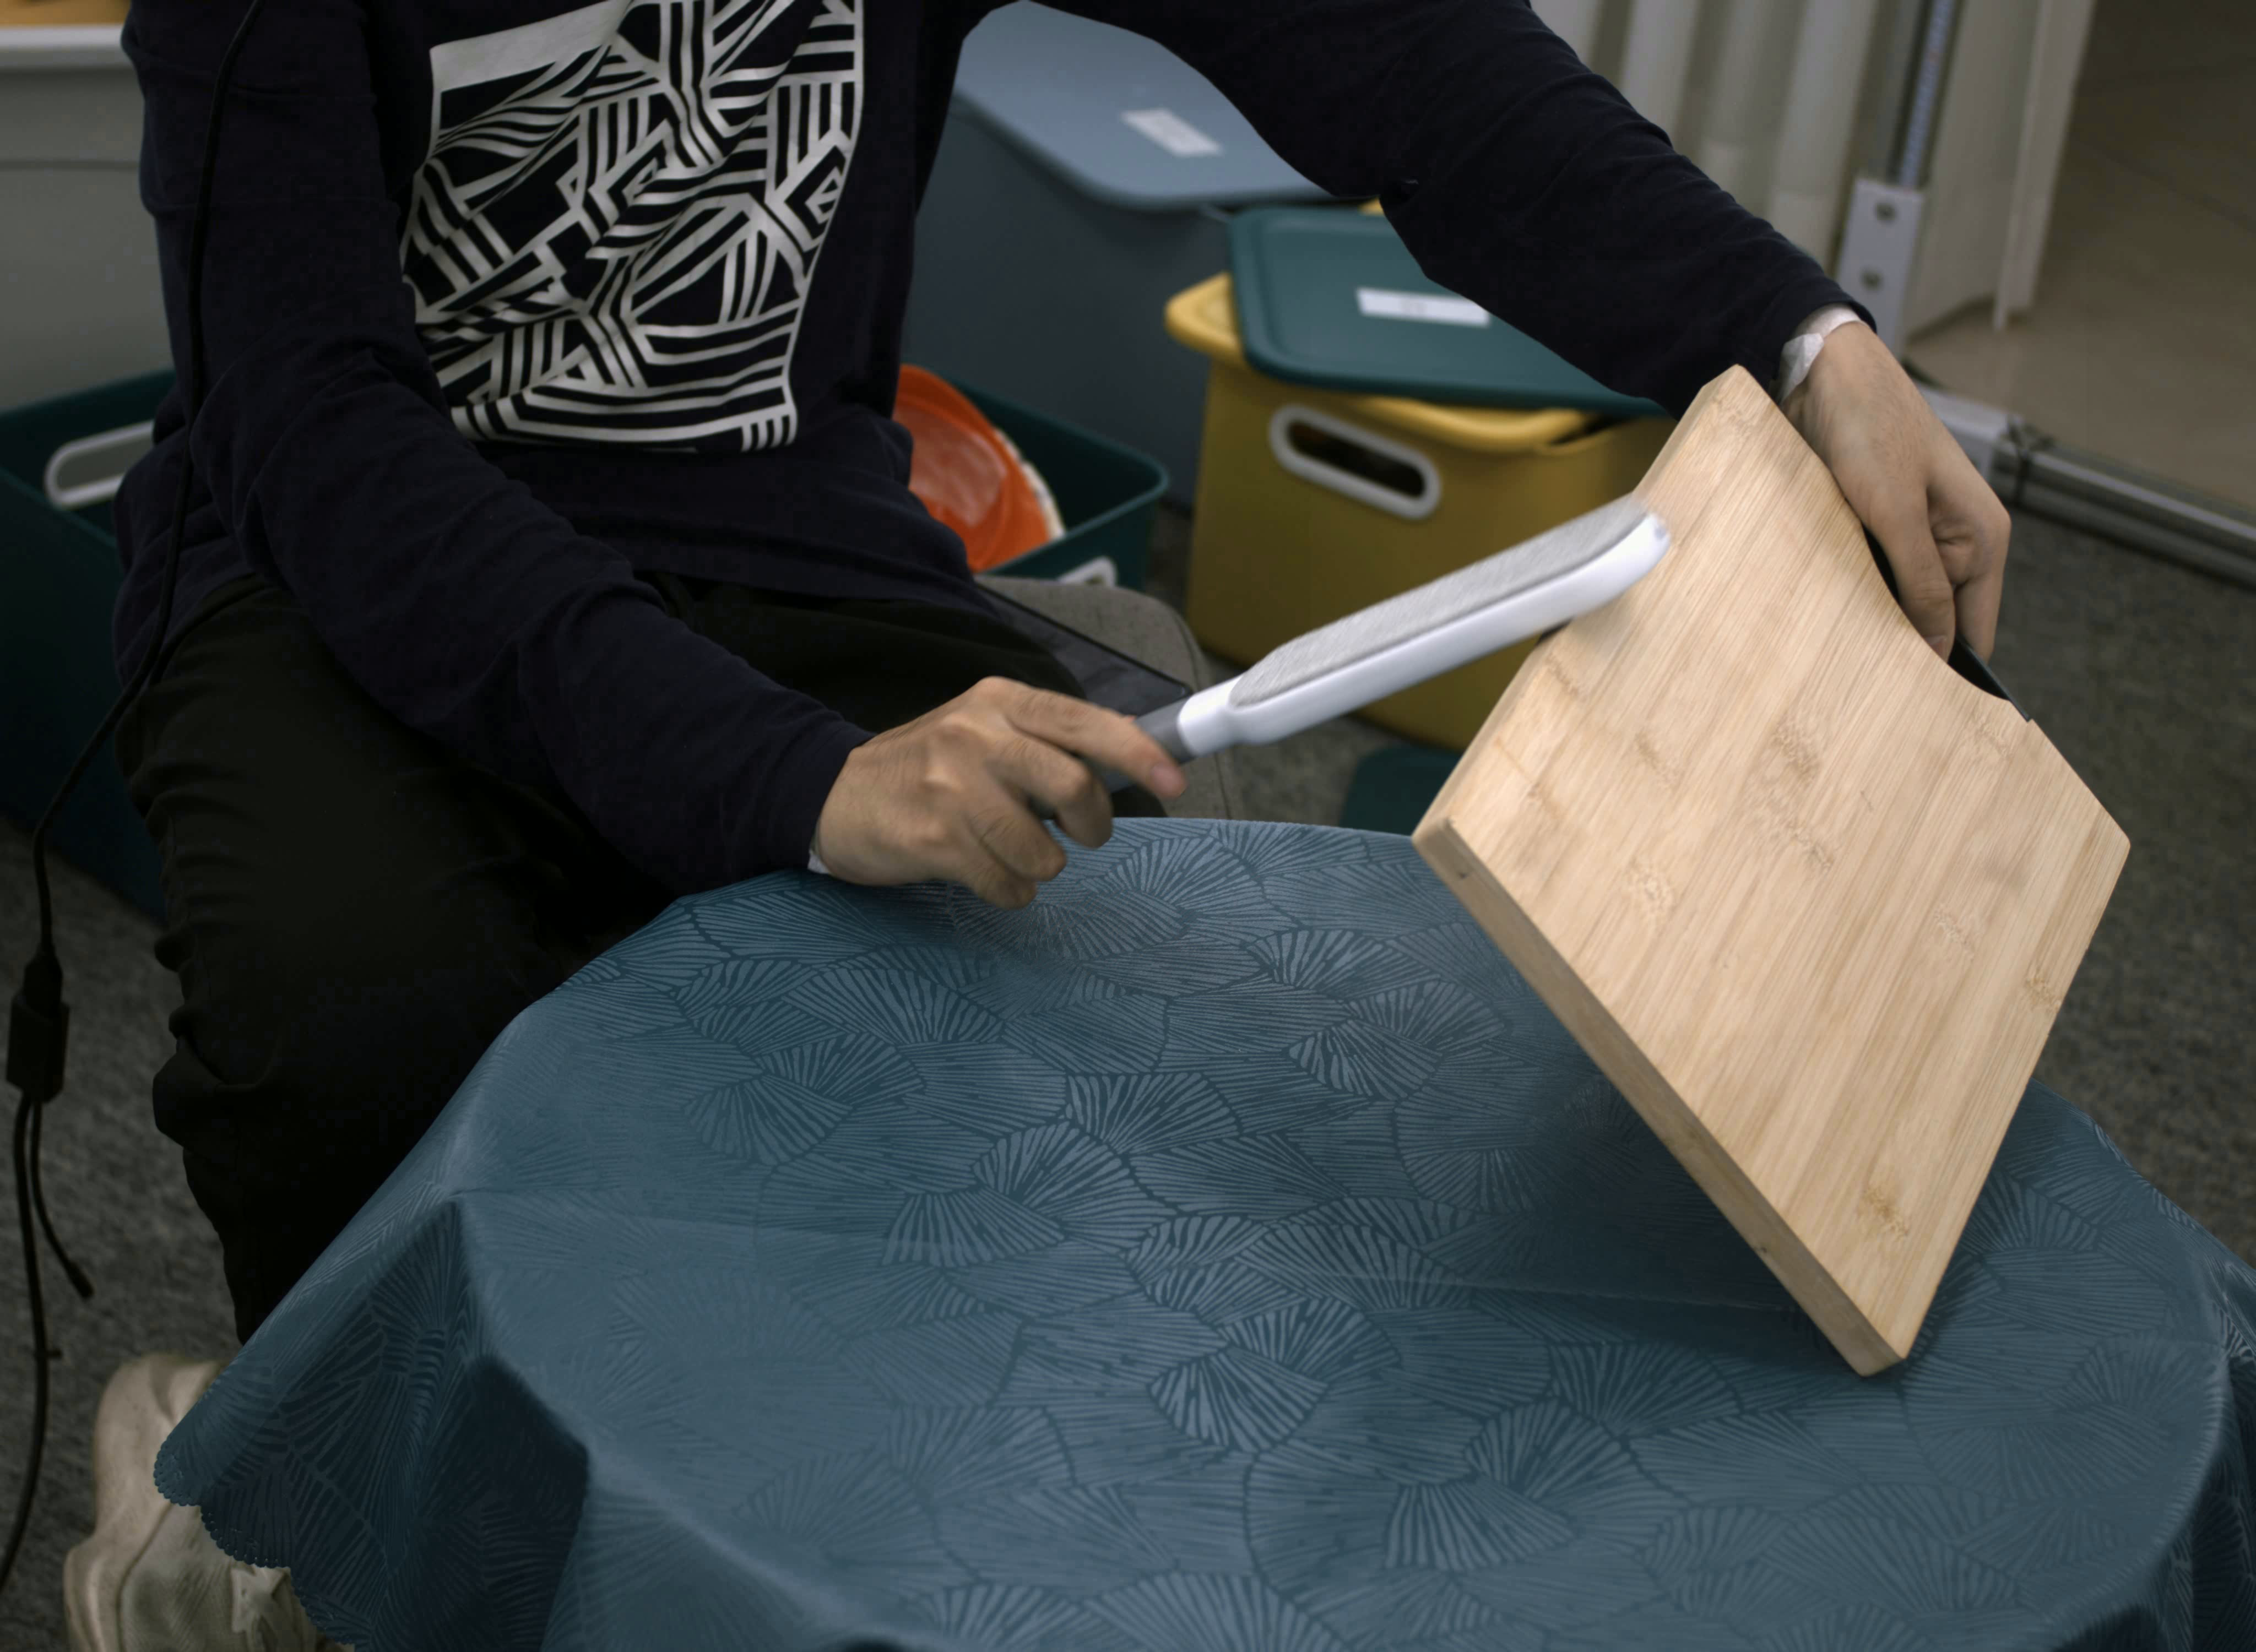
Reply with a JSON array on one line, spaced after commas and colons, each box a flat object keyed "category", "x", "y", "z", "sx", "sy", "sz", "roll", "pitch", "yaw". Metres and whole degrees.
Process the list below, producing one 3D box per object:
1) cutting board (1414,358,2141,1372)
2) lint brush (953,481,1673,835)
[{"category": "cutting board", "x": 0.236, "y": 0.004, "z": 1.861, "sx": 0.250, "sy": 0.023, "sz": 0.349, "roll": 49, "pitch": 37, "yaw": -10}, {"category": "lint brush", "x": 0.060, "y": -0.056, "z": 1.887, "sx": 0.309, "sy": 0.021, "sz": 0.060, "roll": -23, "pitch": 23, "yaw": 31}]
